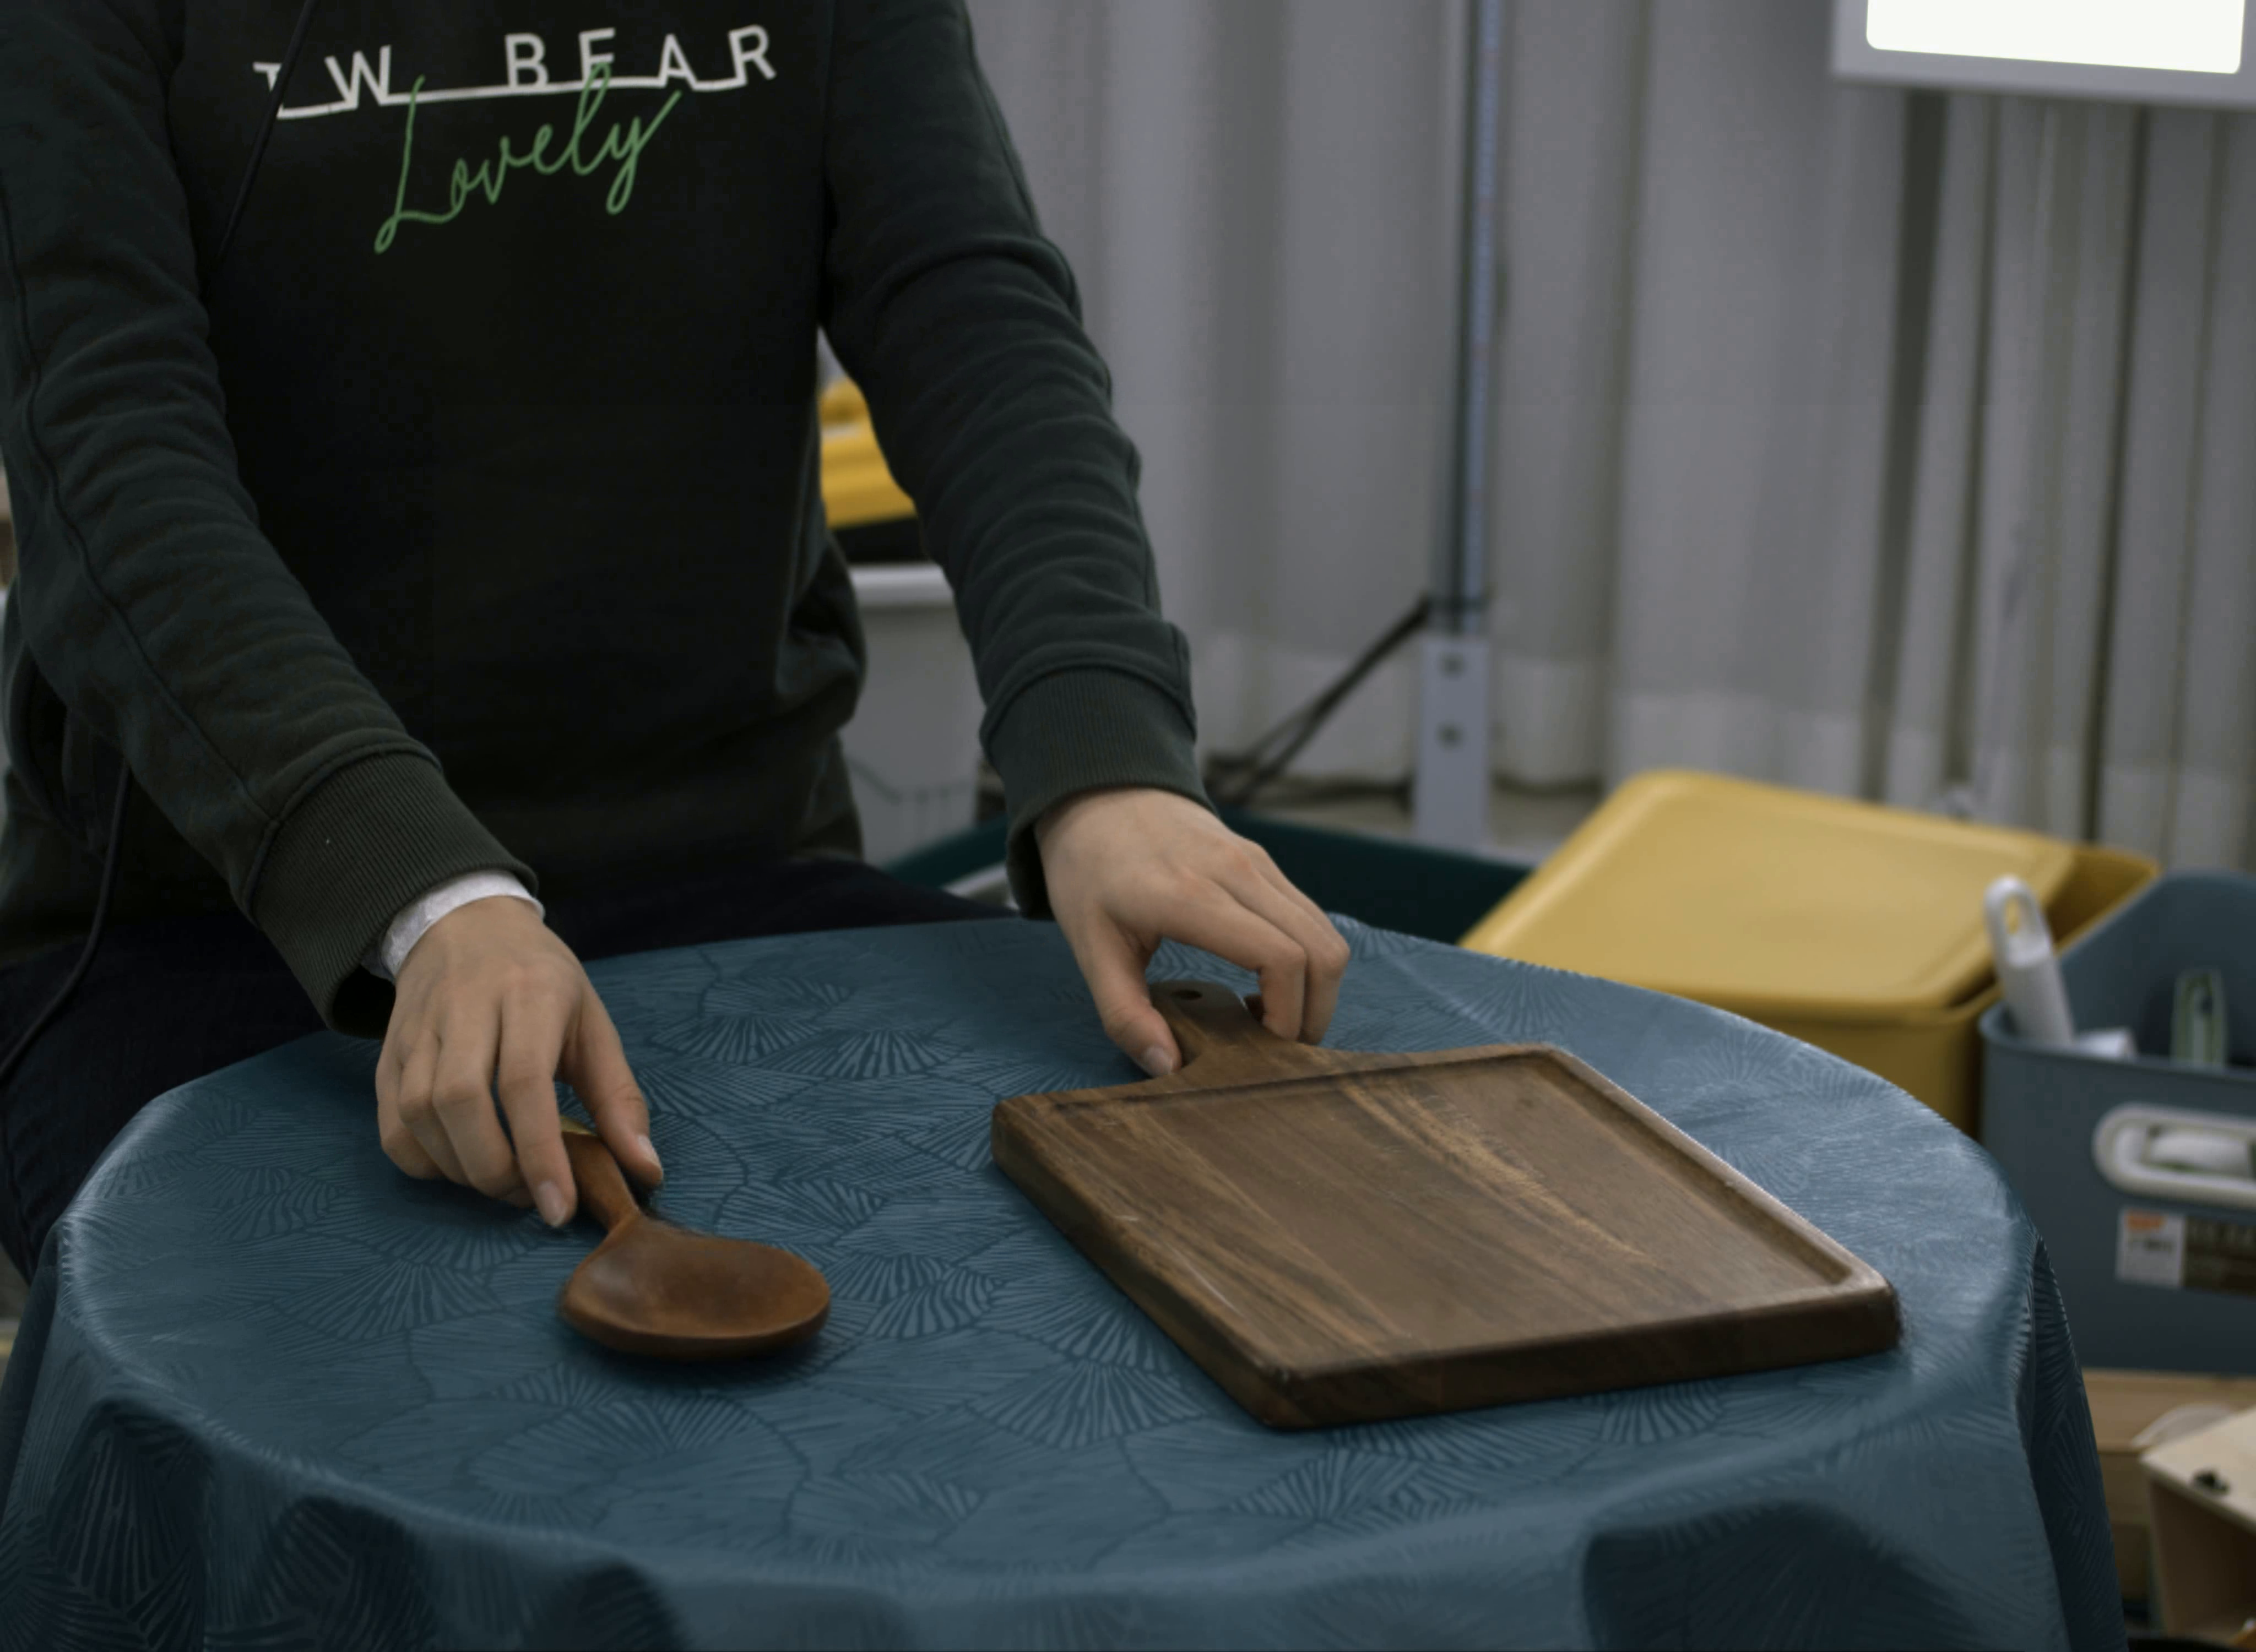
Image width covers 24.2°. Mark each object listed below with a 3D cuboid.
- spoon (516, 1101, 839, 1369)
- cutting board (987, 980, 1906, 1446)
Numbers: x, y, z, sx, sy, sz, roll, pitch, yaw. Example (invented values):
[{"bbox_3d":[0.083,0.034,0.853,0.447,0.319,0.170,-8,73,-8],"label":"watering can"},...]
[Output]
[{"bbox_3d":[-0.143,0.121,1.557,0.075,0.017,0.213,-7,18,-20],"label":"spoon"},{"bbox_3d":[0.072,0.106,1.619,0.201,0.023,0.348,-6,17,-19],"label":"cutting board"}]
